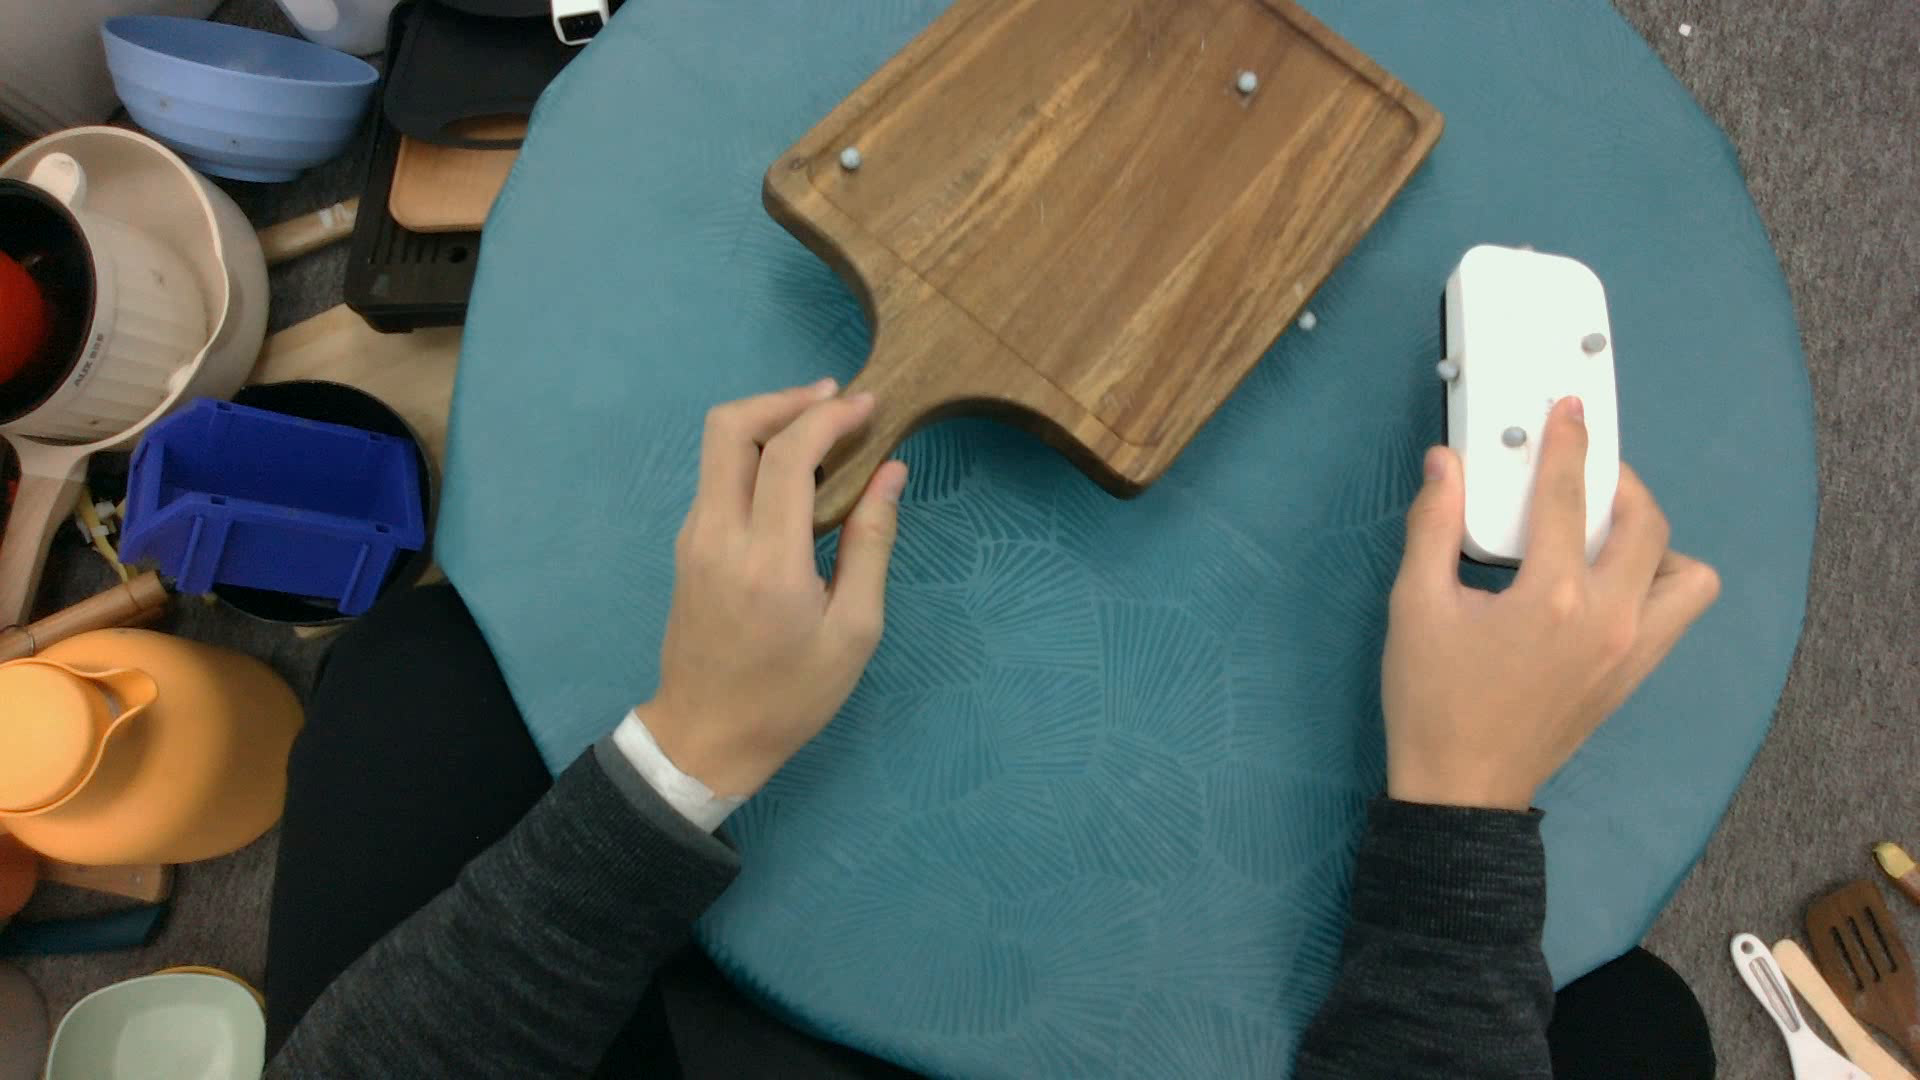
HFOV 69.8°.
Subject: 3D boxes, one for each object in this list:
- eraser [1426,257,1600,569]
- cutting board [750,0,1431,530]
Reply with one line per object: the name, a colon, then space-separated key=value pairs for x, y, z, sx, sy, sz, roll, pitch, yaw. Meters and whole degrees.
eraser: x=0.221 y=-0.054 z=0.559 sx=0.063 sy=0.034 sz=0.132 roll=9 pitch=68 yaw=-6
cutting board: x=0.035 y=-0.135 z=0.568 sx=0.201 sy=0.023 sz=0.353 roll=39 pitch=67 yaw=4
